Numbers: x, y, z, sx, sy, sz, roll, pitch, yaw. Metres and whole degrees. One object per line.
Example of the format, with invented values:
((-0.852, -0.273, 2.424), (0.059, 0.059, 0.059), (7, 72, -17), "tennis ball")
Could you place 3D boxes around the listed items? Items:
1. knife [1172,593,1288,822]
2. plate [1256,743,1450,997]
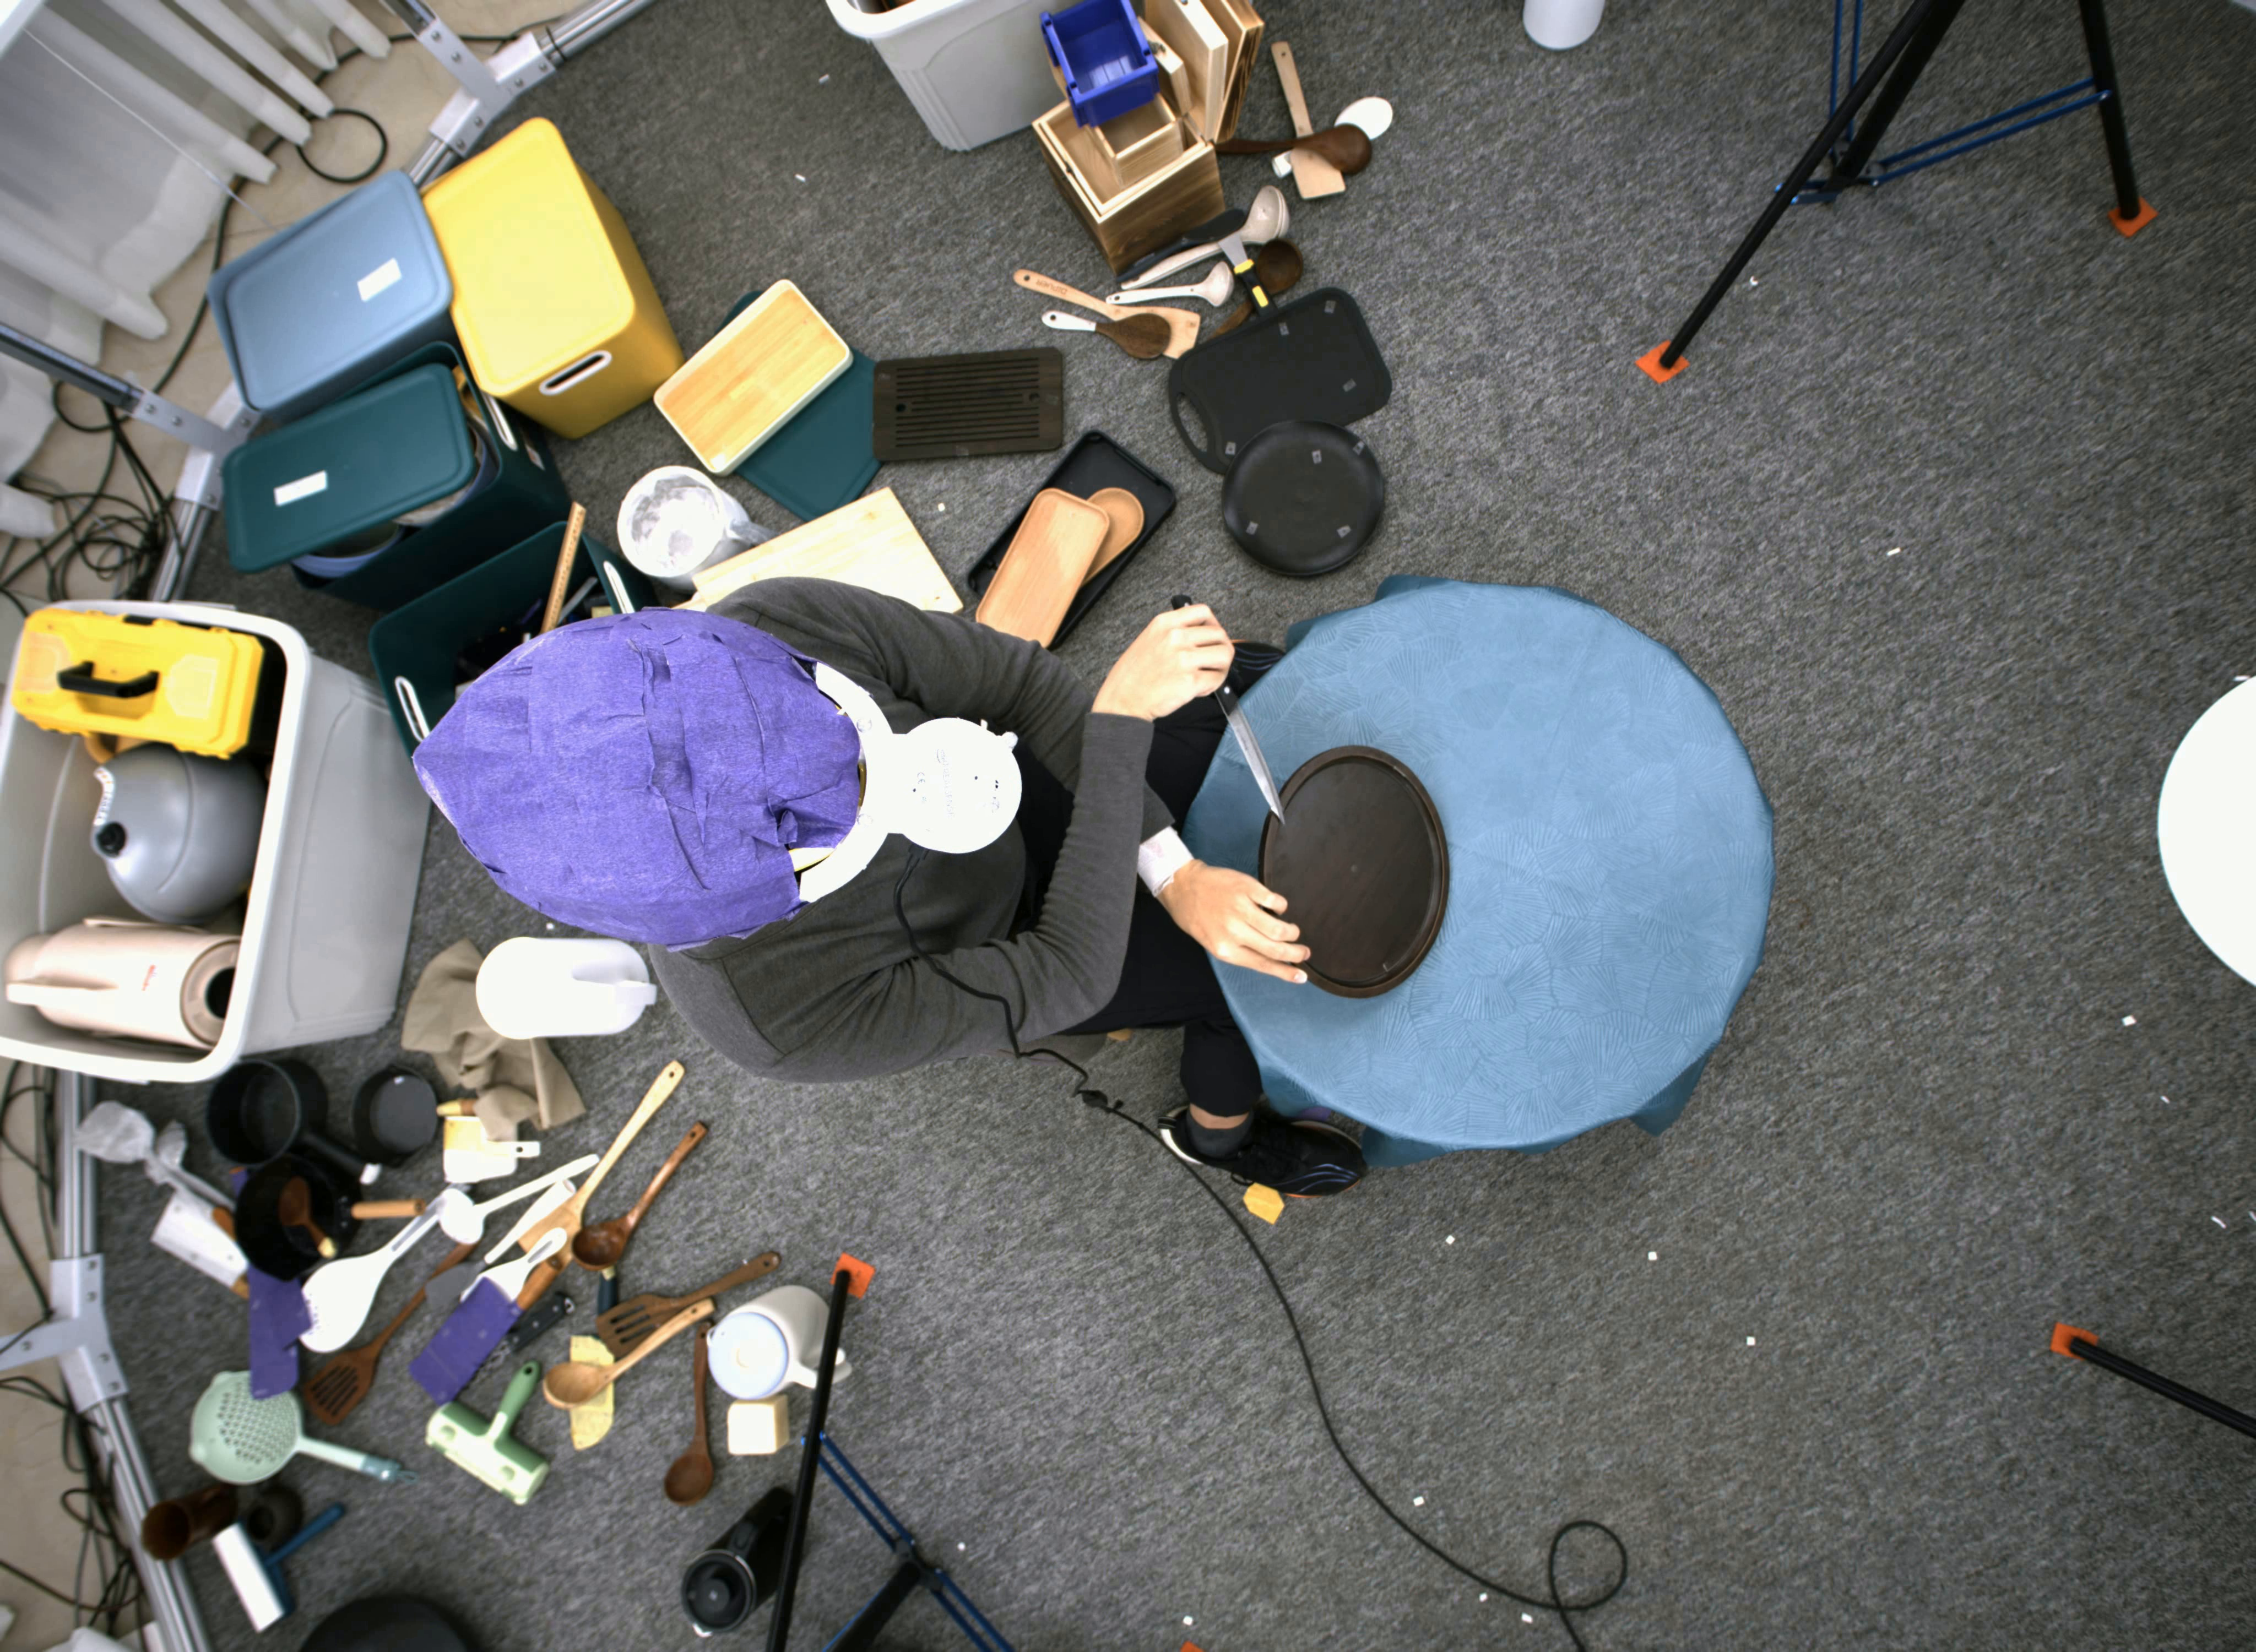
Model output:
((0.098, -0.109, 1.297), (0.016, 0.024, 0.239), (-14, 105, 52), "knife")
((0.227, 0.043, 1.382), (0.253, 0.029, 0.254), (2, 88, -33), "plate")
